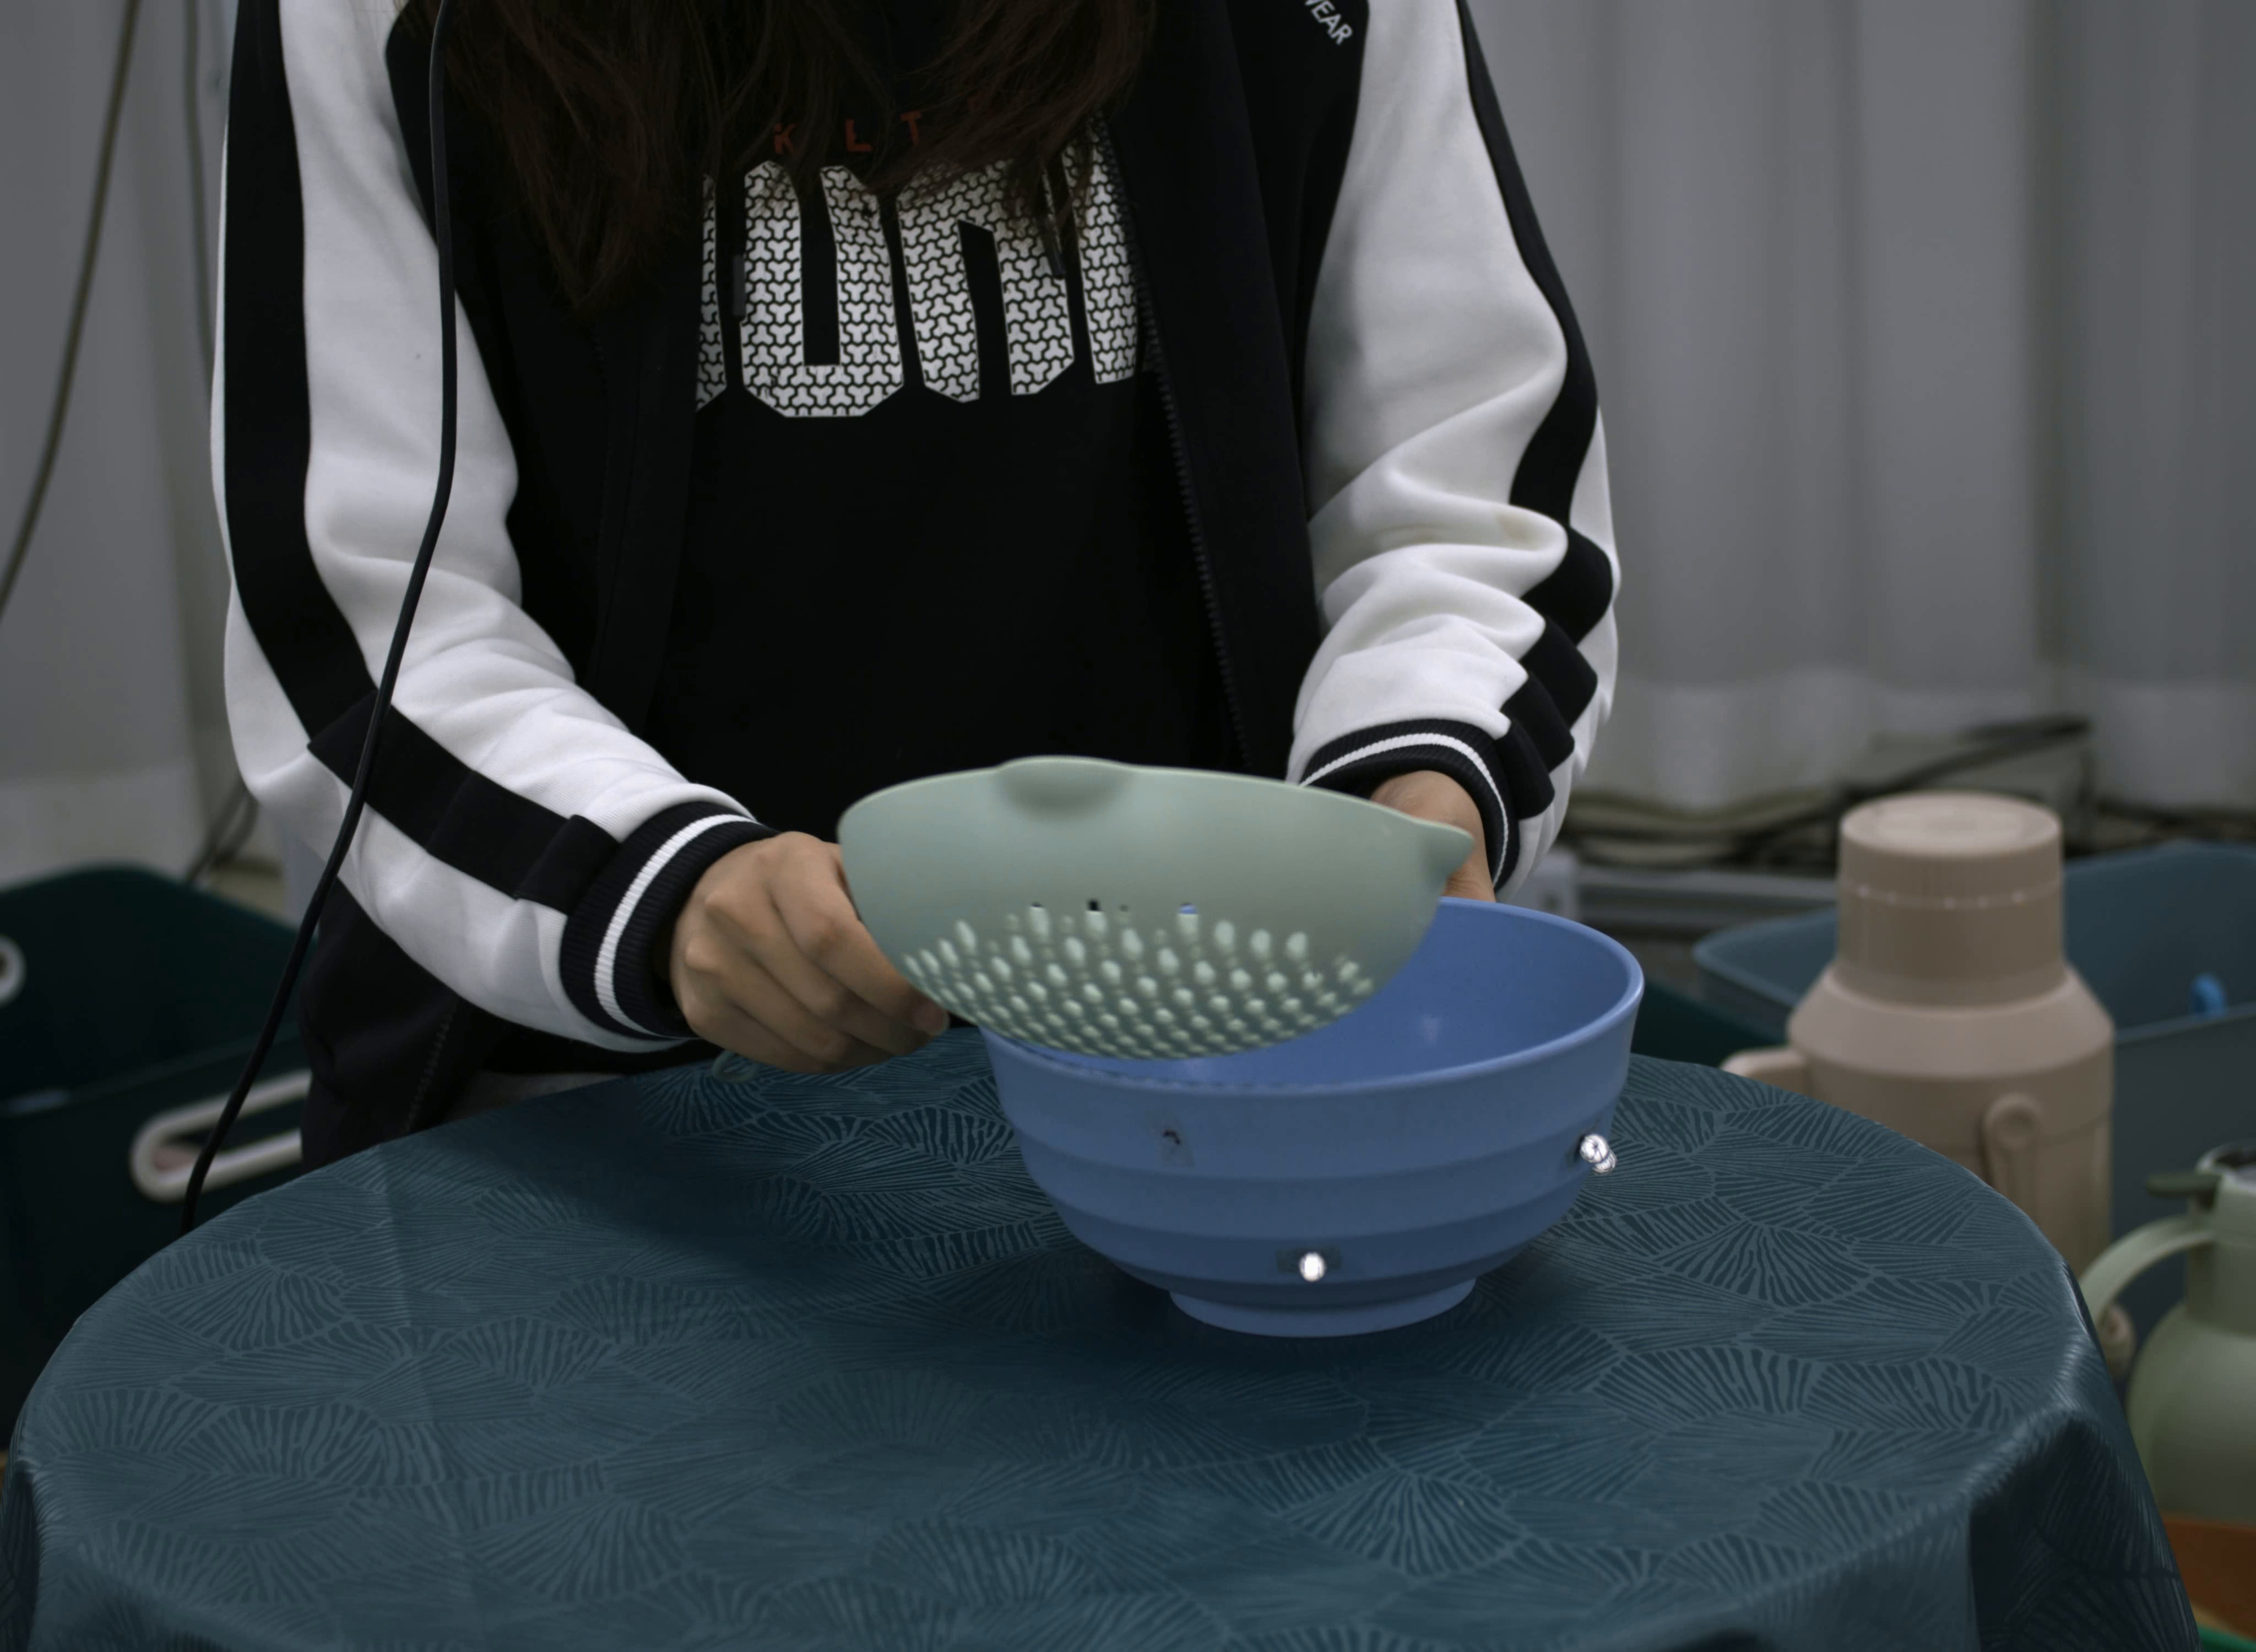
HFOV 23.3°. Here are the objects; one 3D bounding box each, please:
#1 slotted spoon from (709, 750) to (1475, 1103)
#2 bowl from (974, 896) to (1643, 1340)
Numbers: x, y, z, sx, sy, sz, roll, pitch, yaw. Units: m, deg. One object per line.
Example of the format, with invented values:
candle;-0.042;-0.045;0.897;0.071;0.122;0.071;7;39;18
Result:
slotted spoon;-0.043;0.037;1.584;0.168;0.076;0.359;11;-10;-26
bowl;0.055;0.091;1.609;0.196;0.095;0.198;-3;14;1
